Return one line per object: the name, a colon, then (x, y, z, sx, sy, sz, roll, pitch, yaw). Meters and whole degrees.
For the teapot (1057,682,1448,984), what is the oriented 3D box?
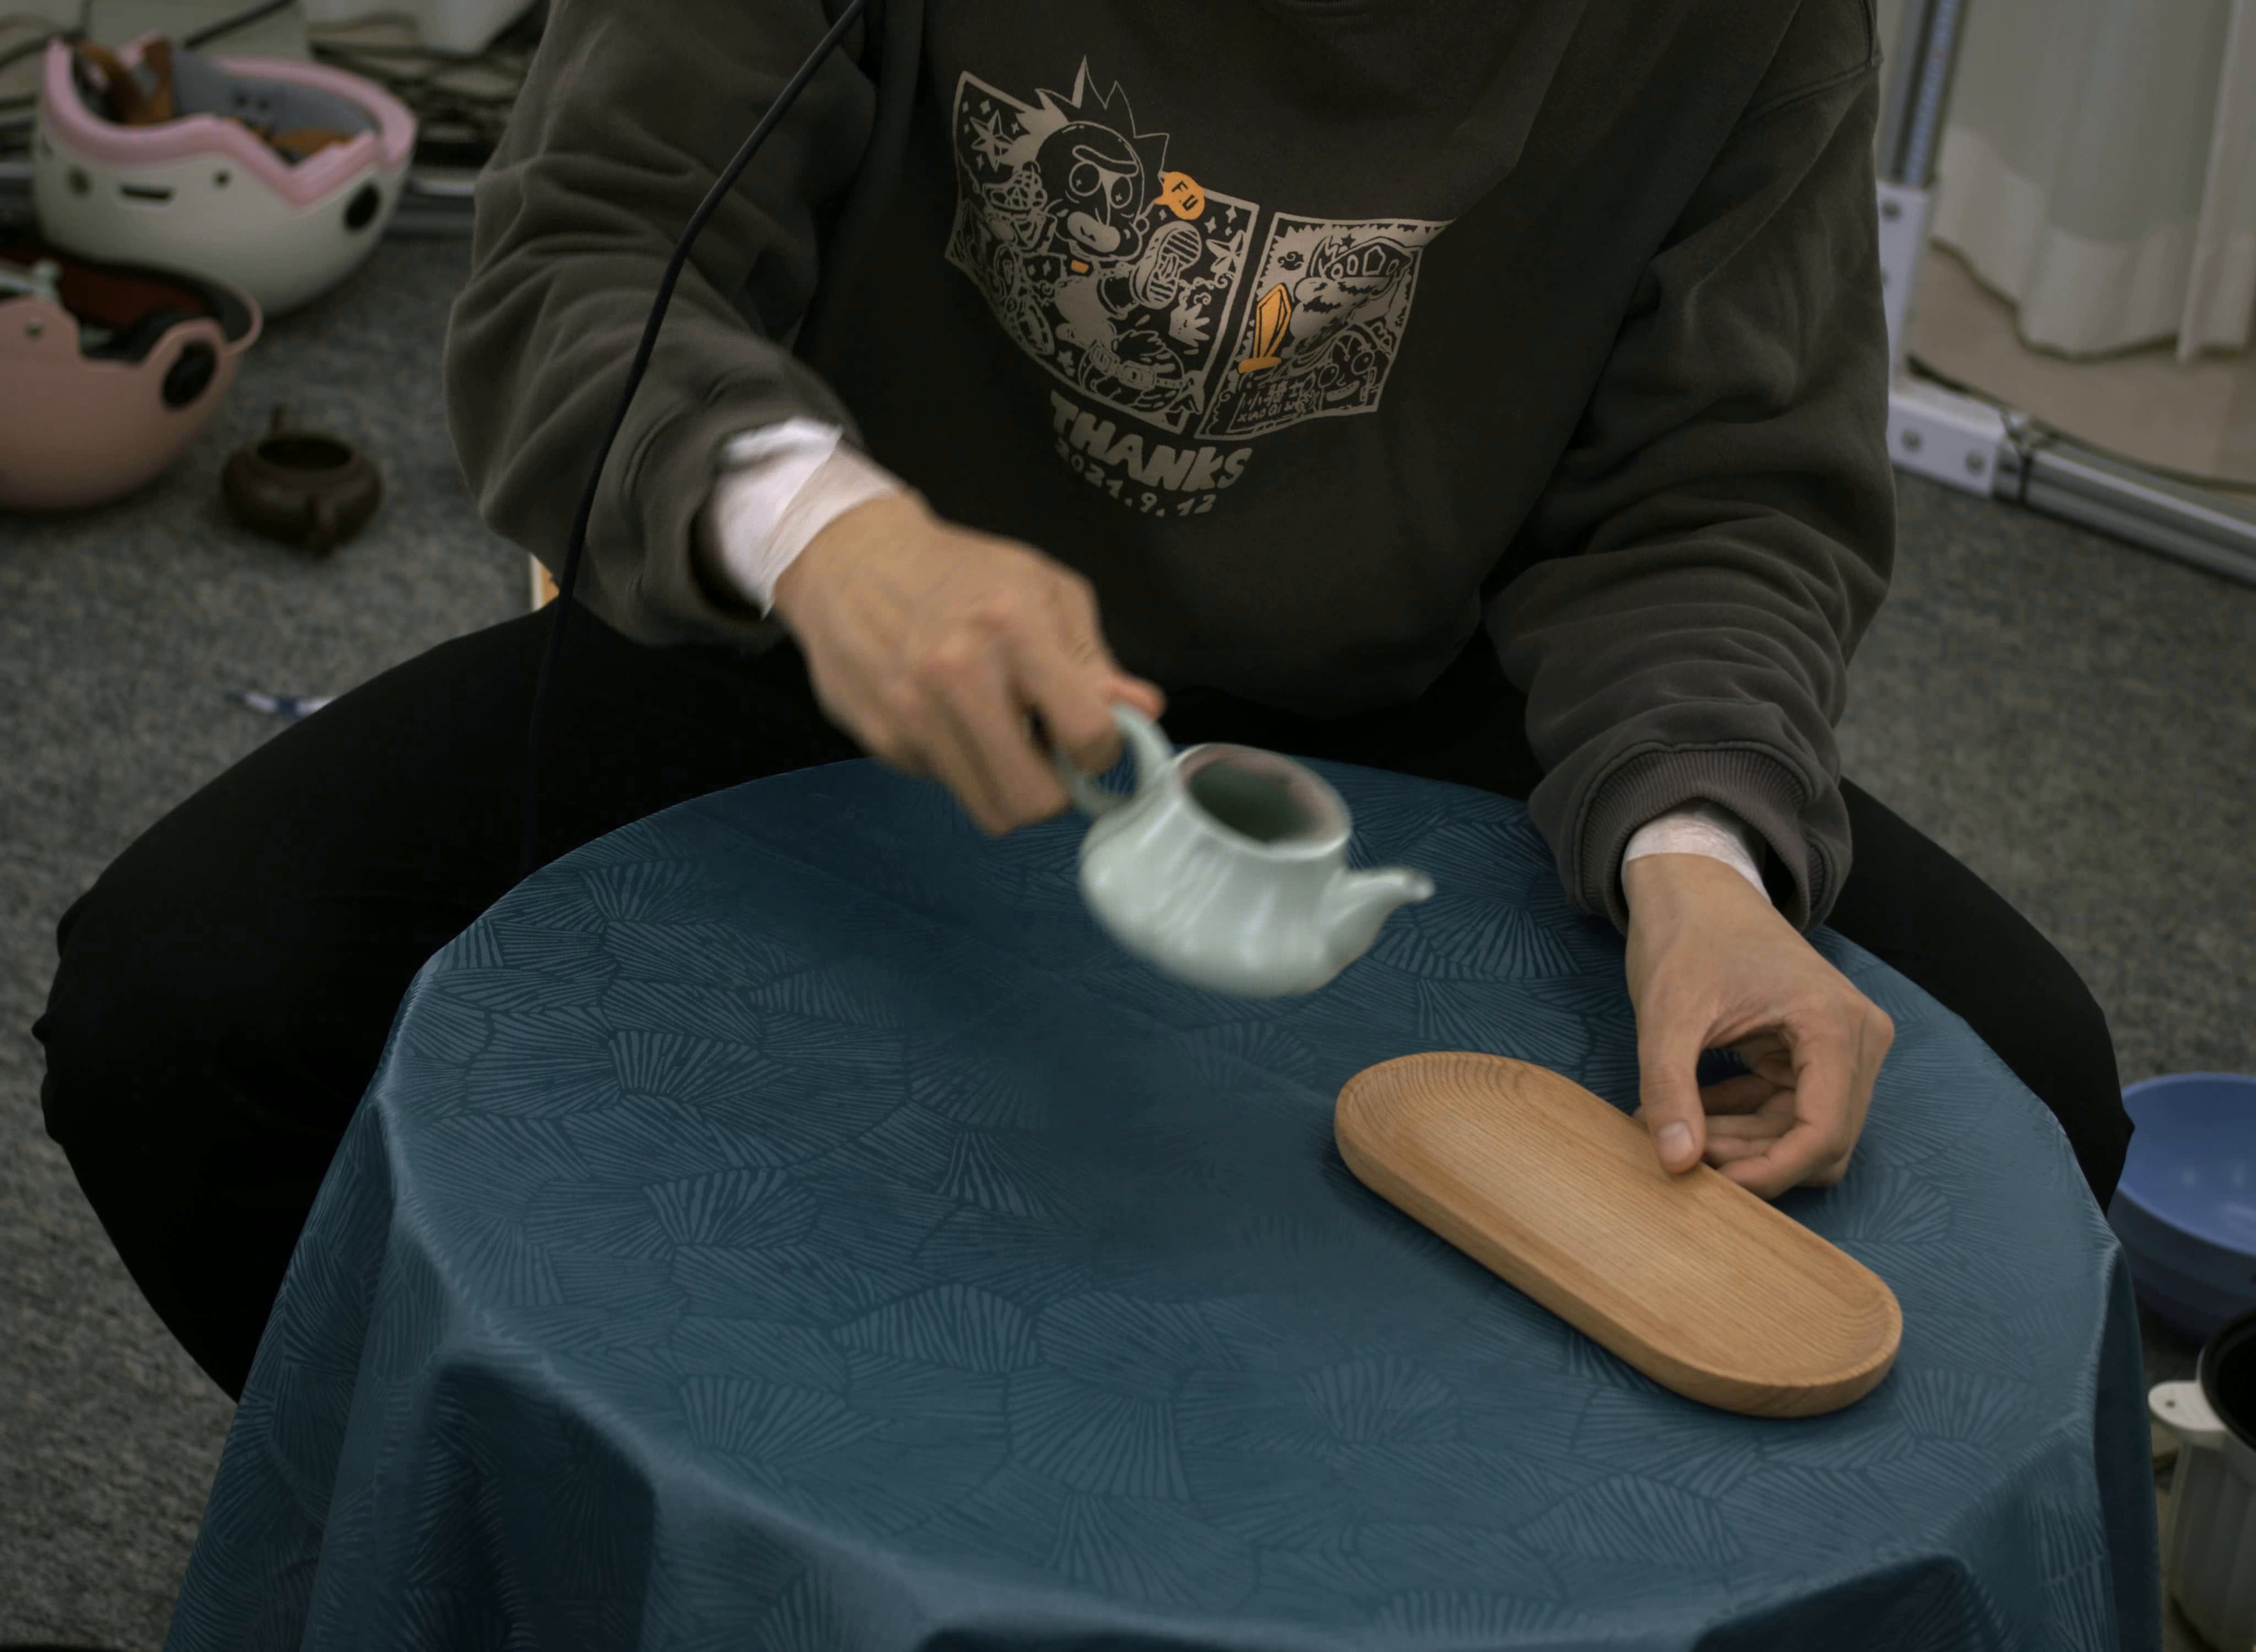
teapot: (0.034, 0.004, 1.744, 0.137, 0.061, 0.096, 30, 32, 8)

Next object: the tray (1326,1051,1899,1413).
tray: (0.161, 0.135, 1.798, 0.101, 0.020, 0.233, -16, 33, -38)
